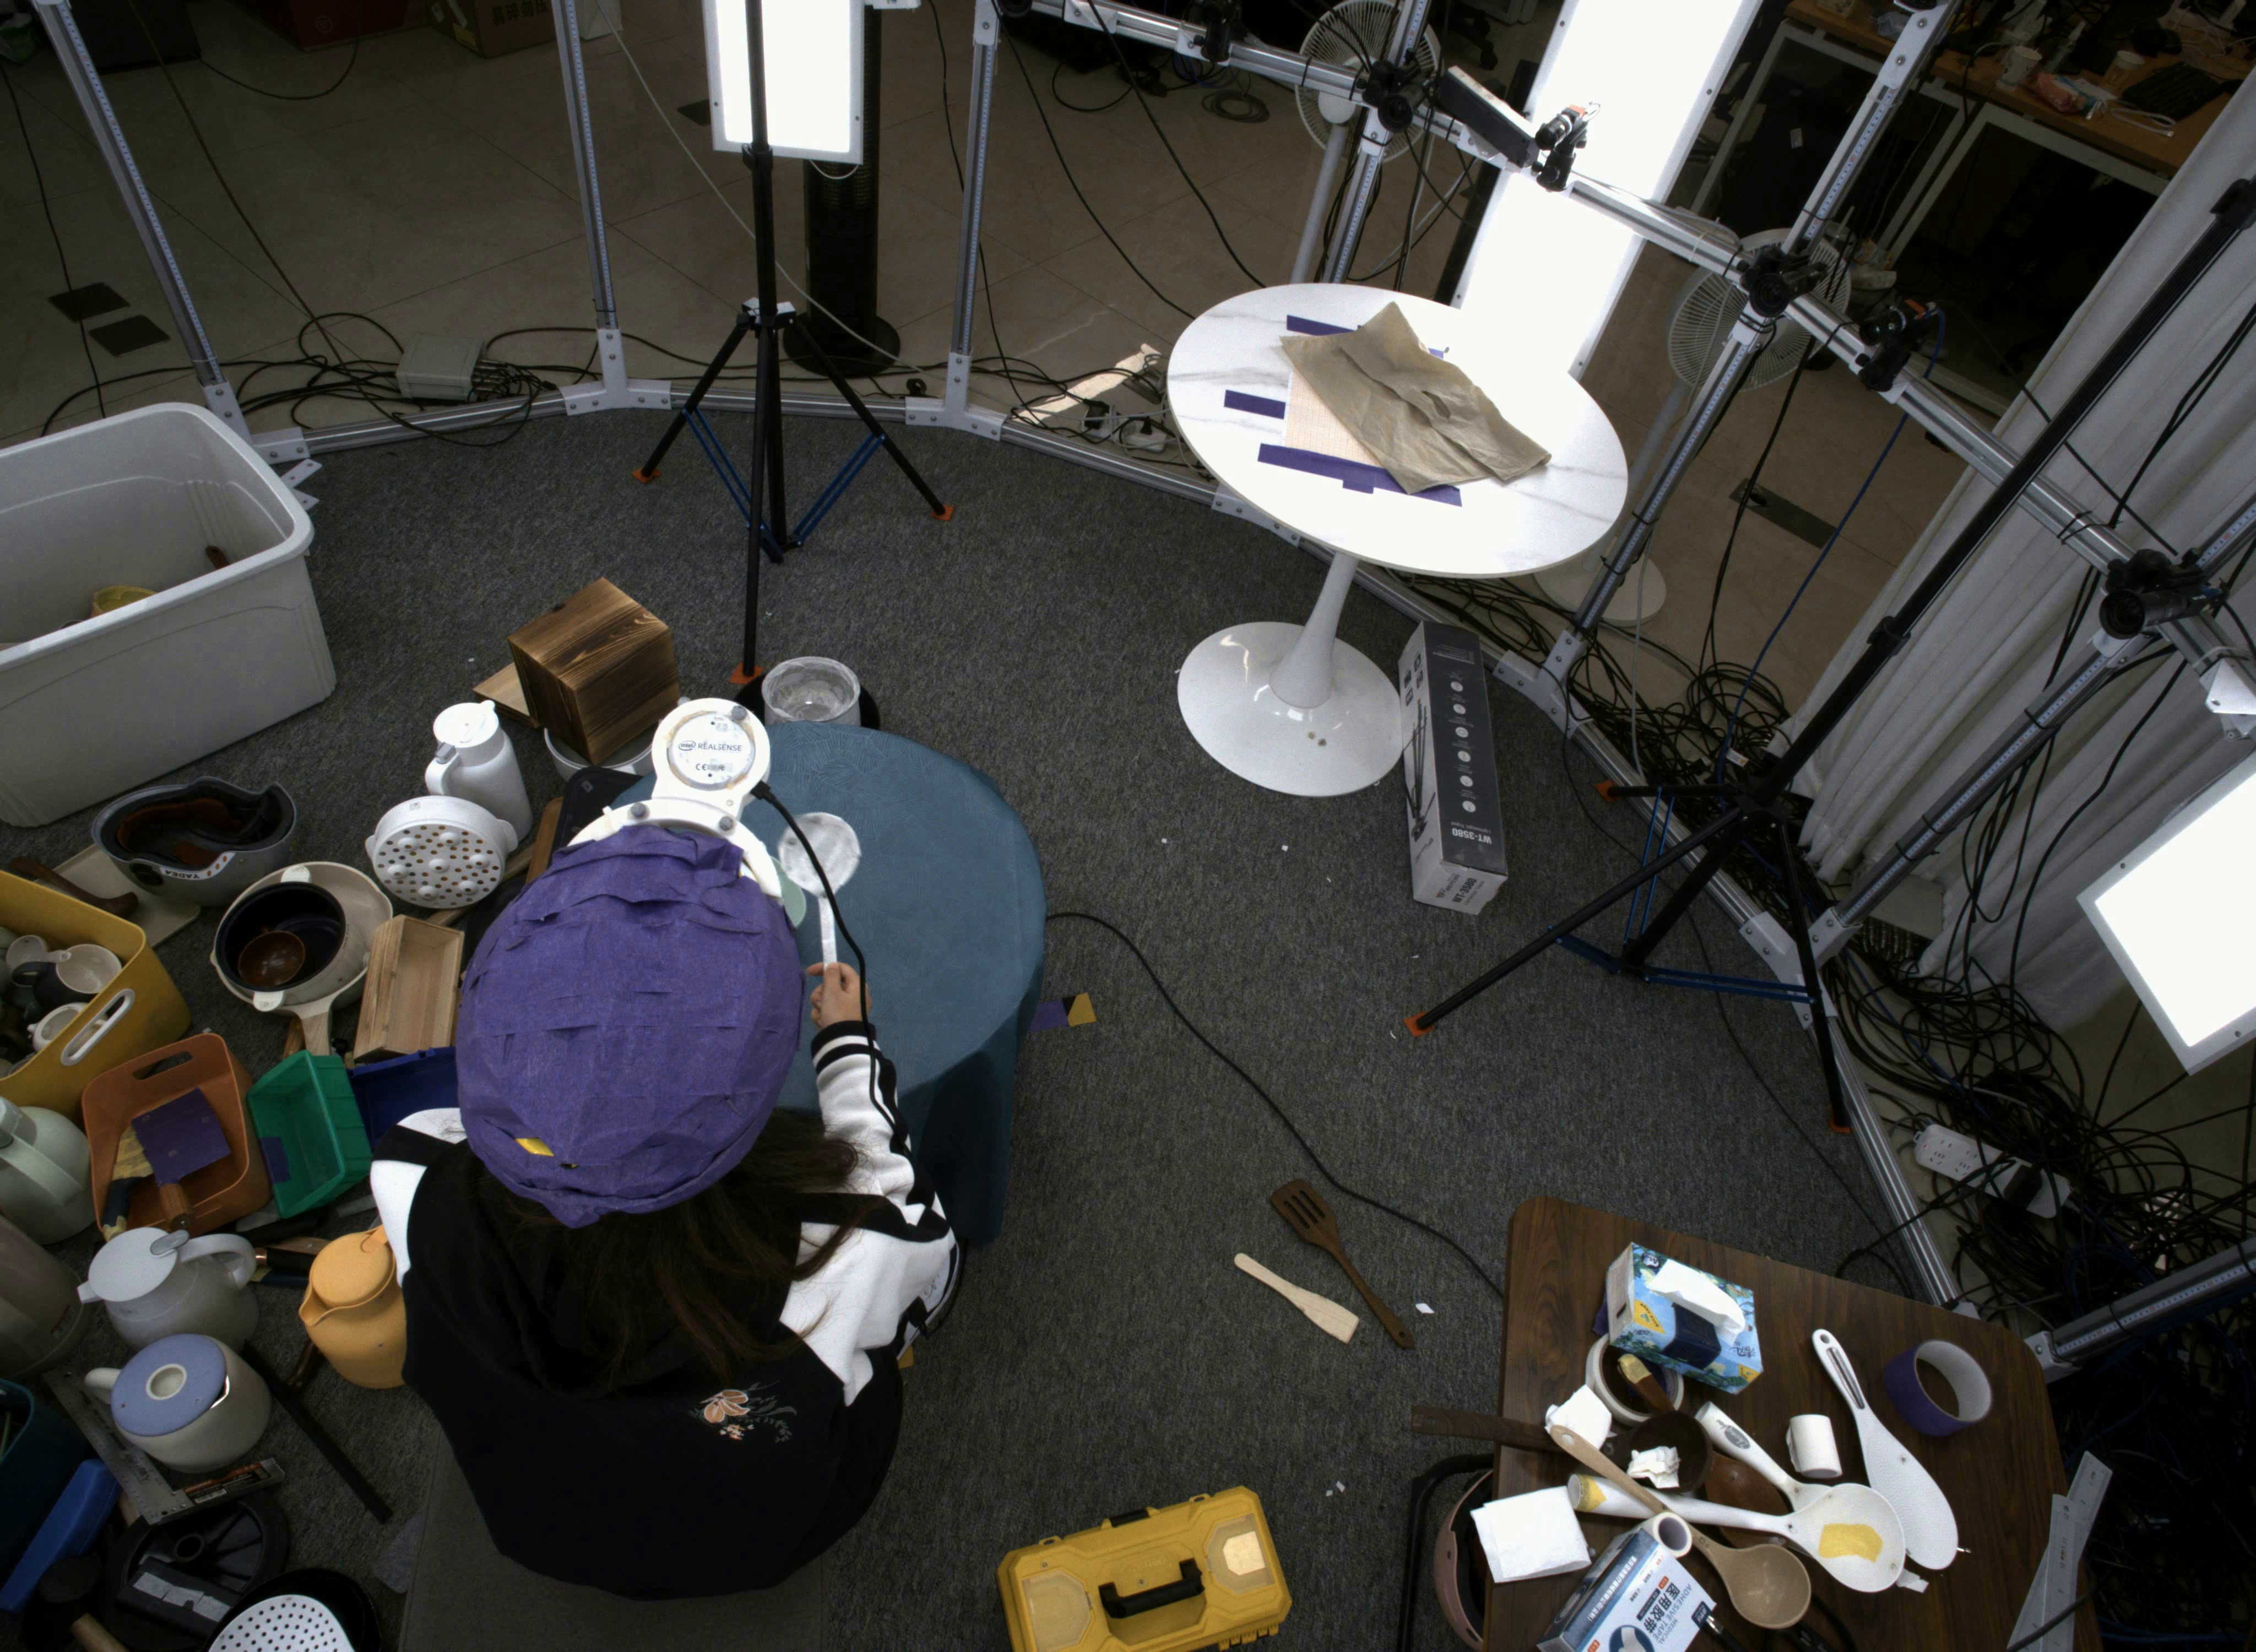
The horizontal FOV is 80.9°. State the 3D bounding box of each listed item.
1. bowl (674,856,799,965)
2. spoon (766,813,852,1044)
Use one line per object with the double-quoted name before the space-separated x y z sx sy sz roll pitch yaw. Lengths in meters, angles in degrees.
"bowl" -0.479 0.112 1.586 0.151 0.060 0.149 8 53 -8
"spoon" -0.360 0.110 1.467 0.100 0.061 0.271 -7 54 -4
